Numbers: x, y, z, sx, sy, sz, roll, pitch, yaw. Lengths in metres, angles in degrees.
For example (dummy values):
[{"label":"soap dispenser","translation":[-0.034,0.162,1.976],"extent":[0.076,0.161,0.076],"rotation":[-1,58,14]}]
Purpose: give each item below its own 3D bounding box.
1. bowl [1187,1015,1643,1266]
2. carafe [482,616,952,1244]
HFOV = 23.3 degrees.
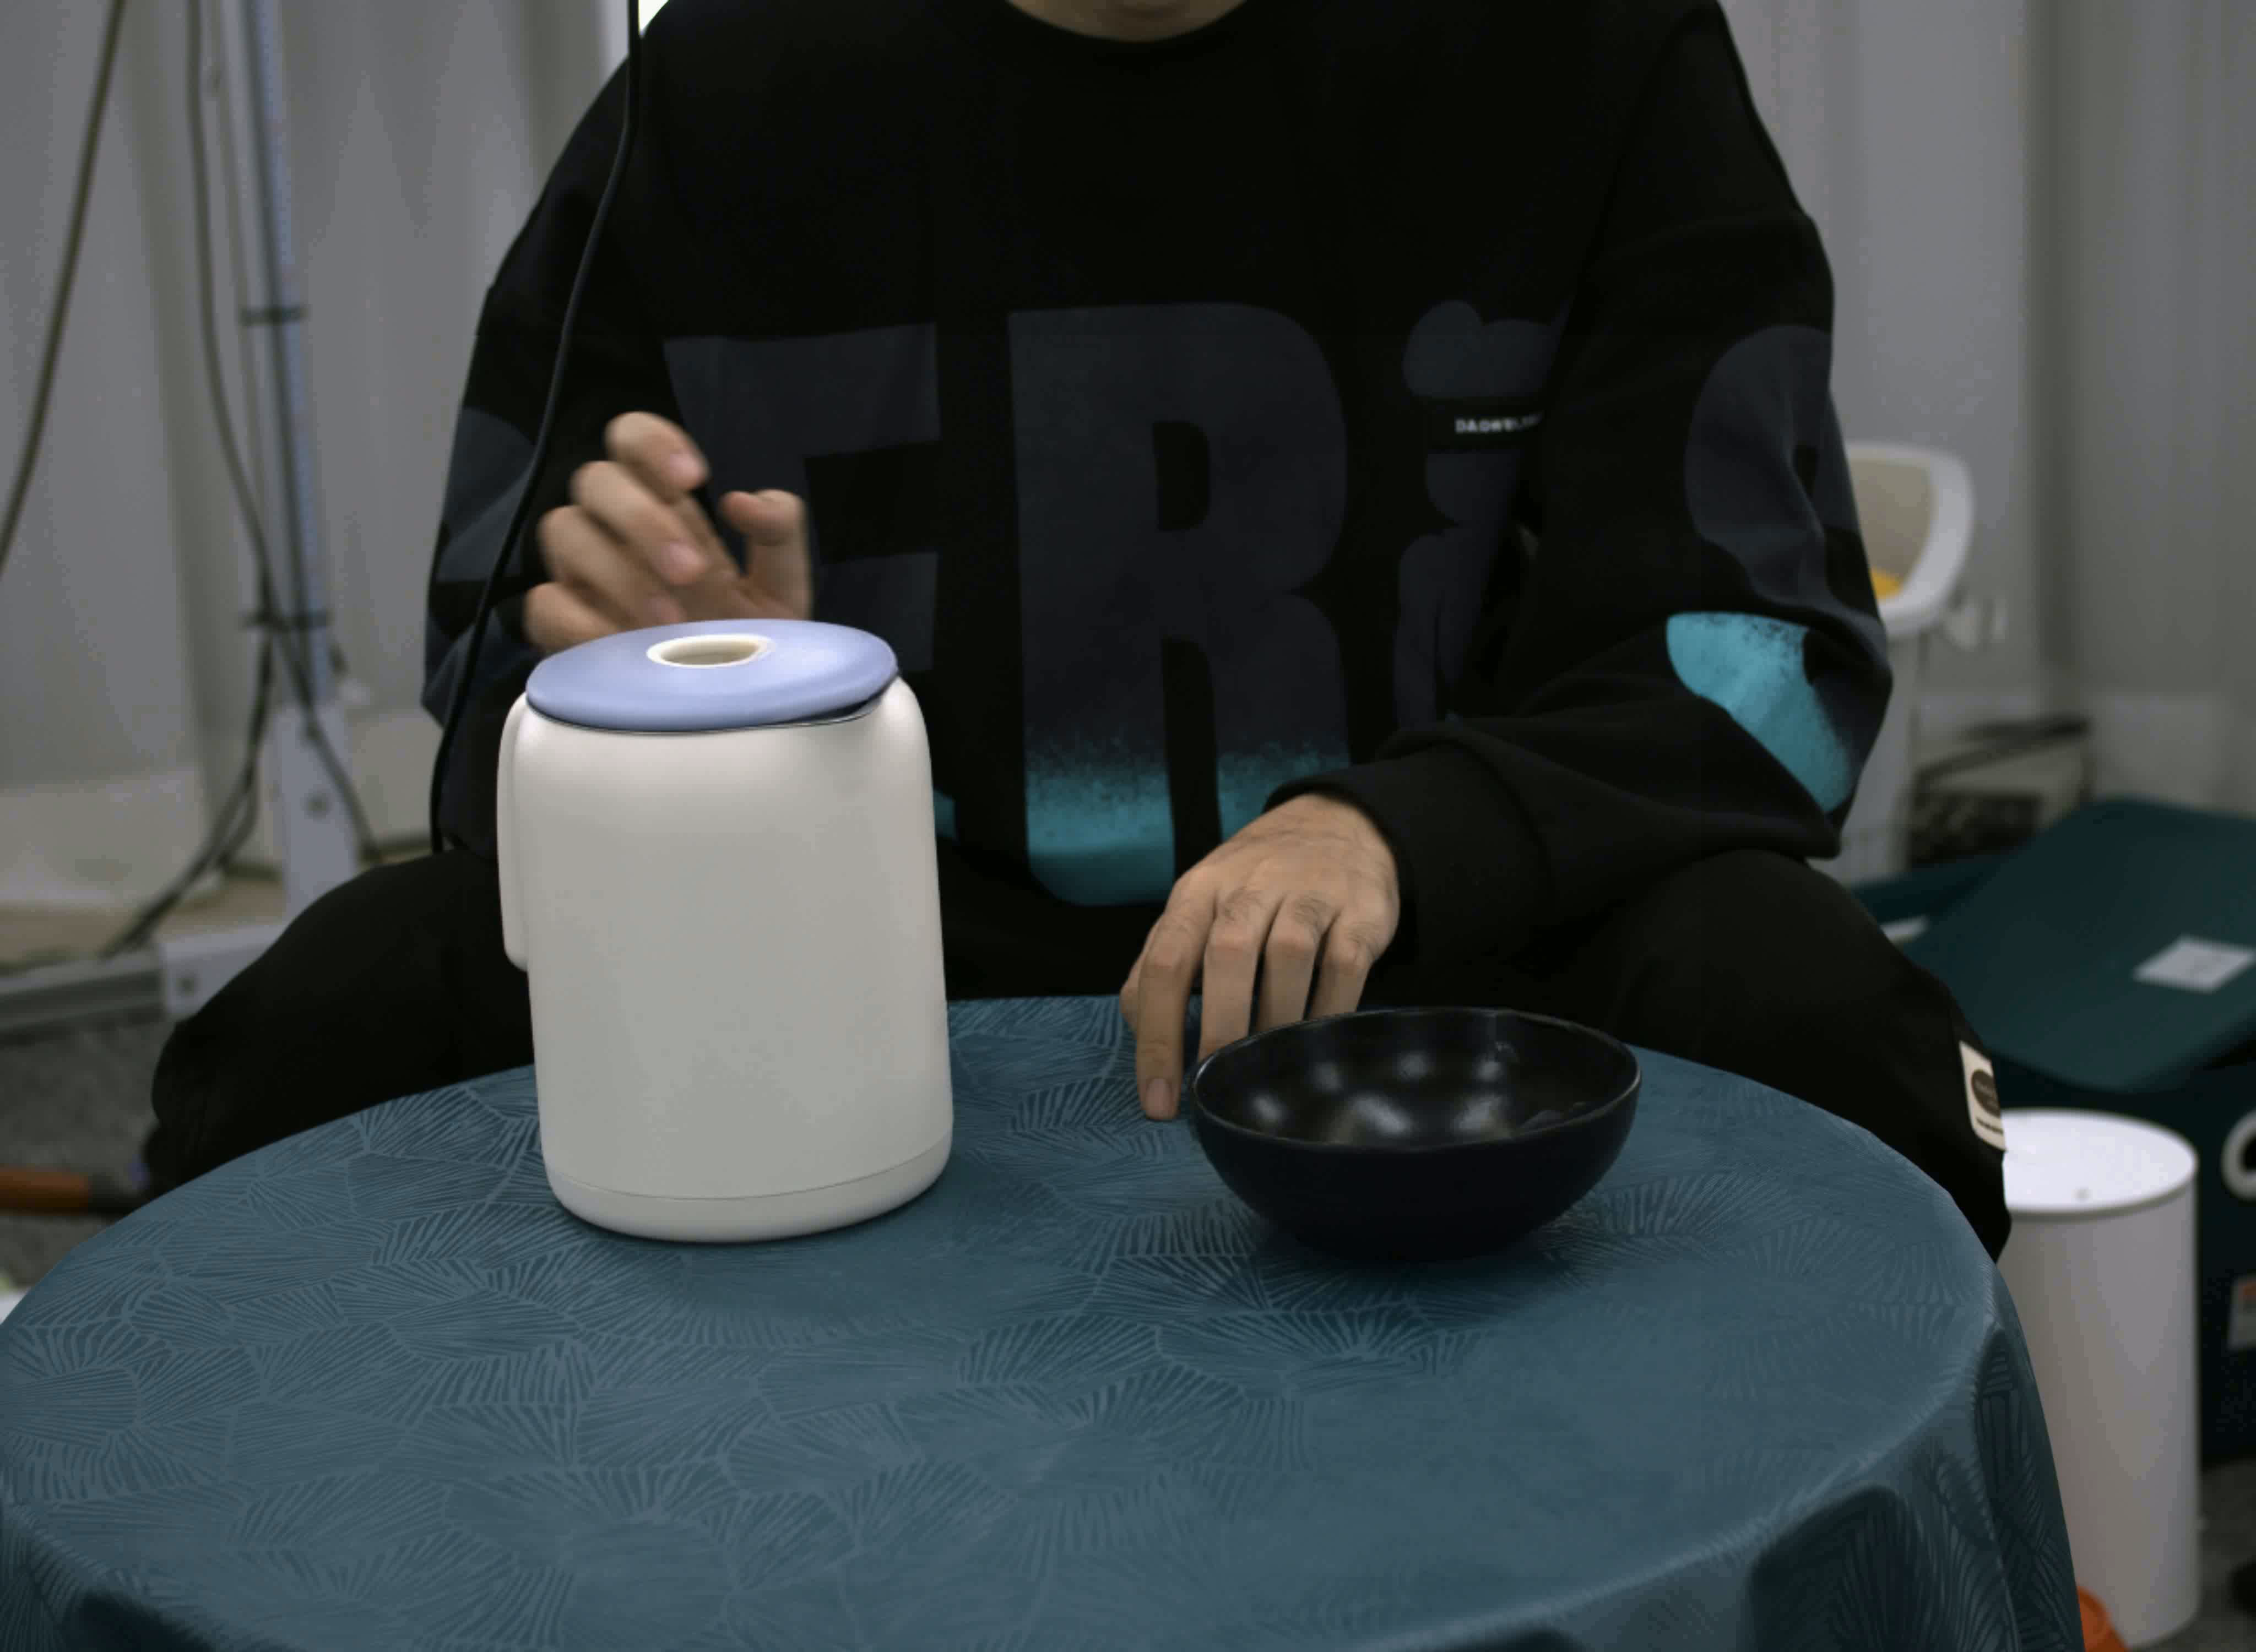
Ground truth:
[{"label":"bowl","translation":[0.088,0.100,1.661],"extent":[0.139,0.049,0.141],"rotation":[-4,13,1]},{"label":"carafe","translation":[-0.141,0.029,1.737],"extent":[0.132,0.182,0.192],"rotation":[-14,16,-41]}]
